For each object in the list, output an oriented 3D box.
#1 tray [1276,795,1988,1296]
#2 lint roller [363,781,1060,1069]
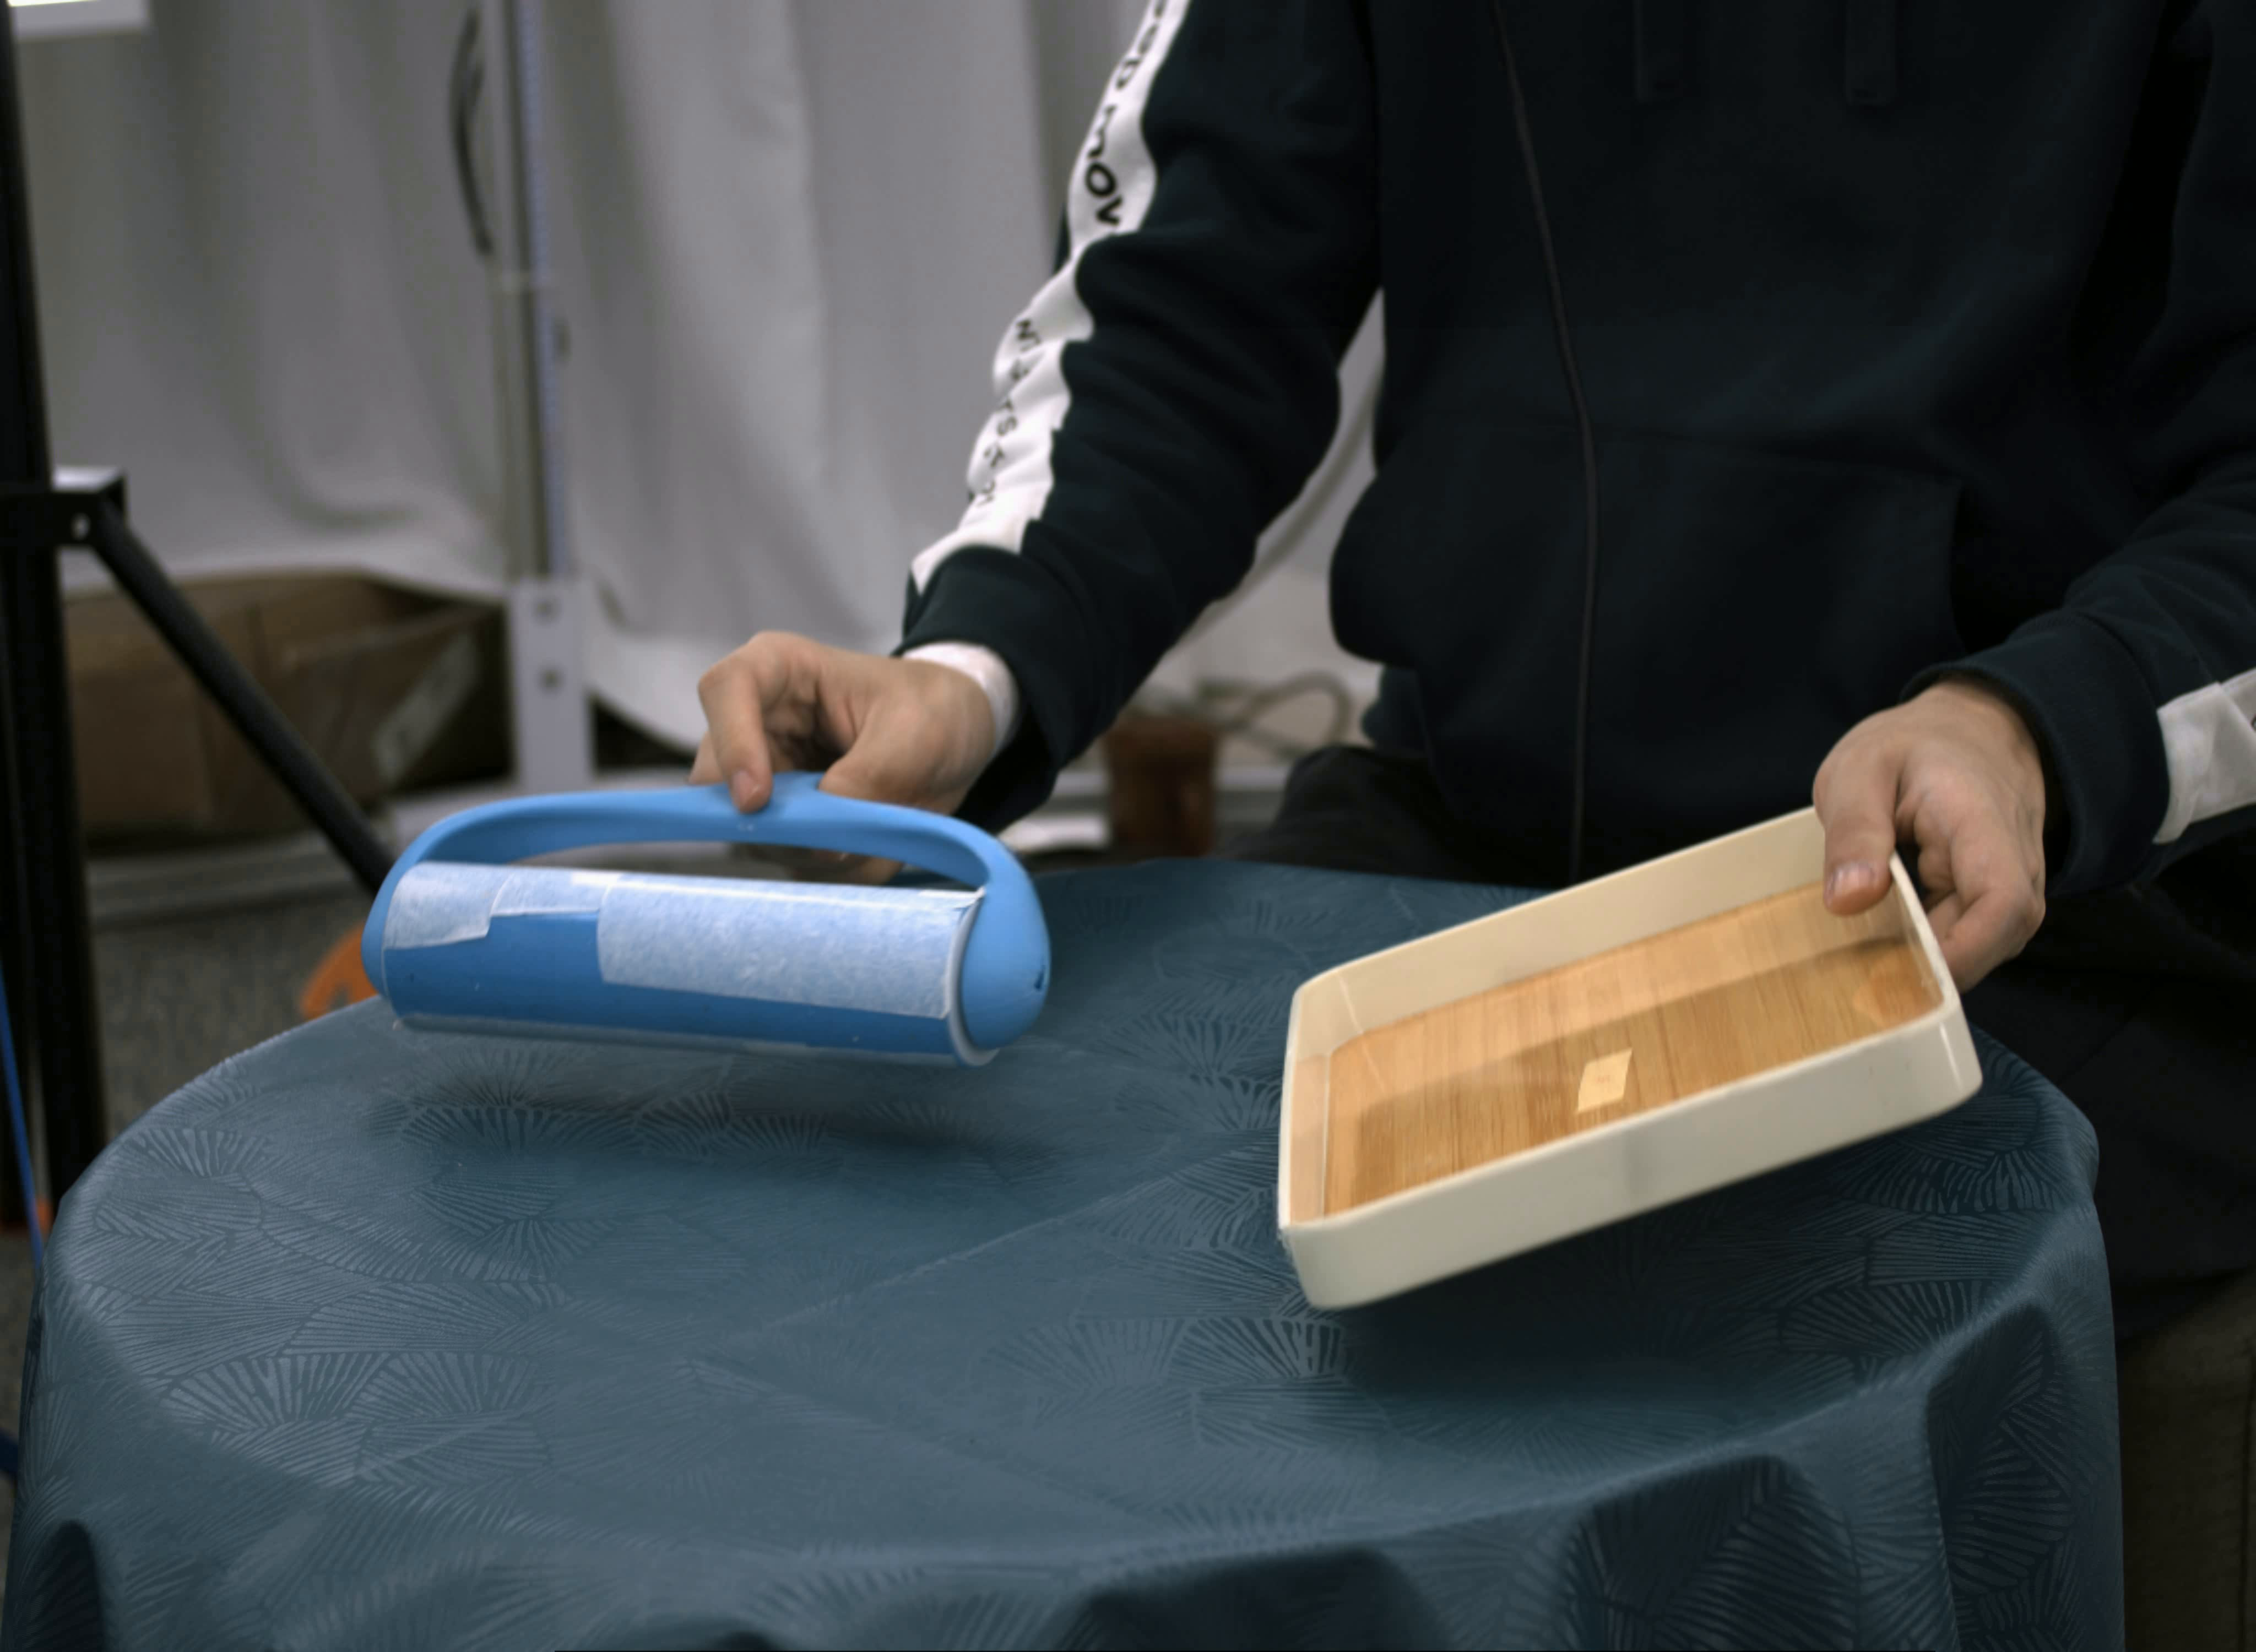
[{"bbox_3d":[0.139,0.059,1.514,0.192,0.027,0.300,-19,10,7],"label":"tray"},{"bbox_3d":[-0.113,0.018,1.682,0.231,0.067,0.179,-1,25,20],"label":"lint roller"}]
